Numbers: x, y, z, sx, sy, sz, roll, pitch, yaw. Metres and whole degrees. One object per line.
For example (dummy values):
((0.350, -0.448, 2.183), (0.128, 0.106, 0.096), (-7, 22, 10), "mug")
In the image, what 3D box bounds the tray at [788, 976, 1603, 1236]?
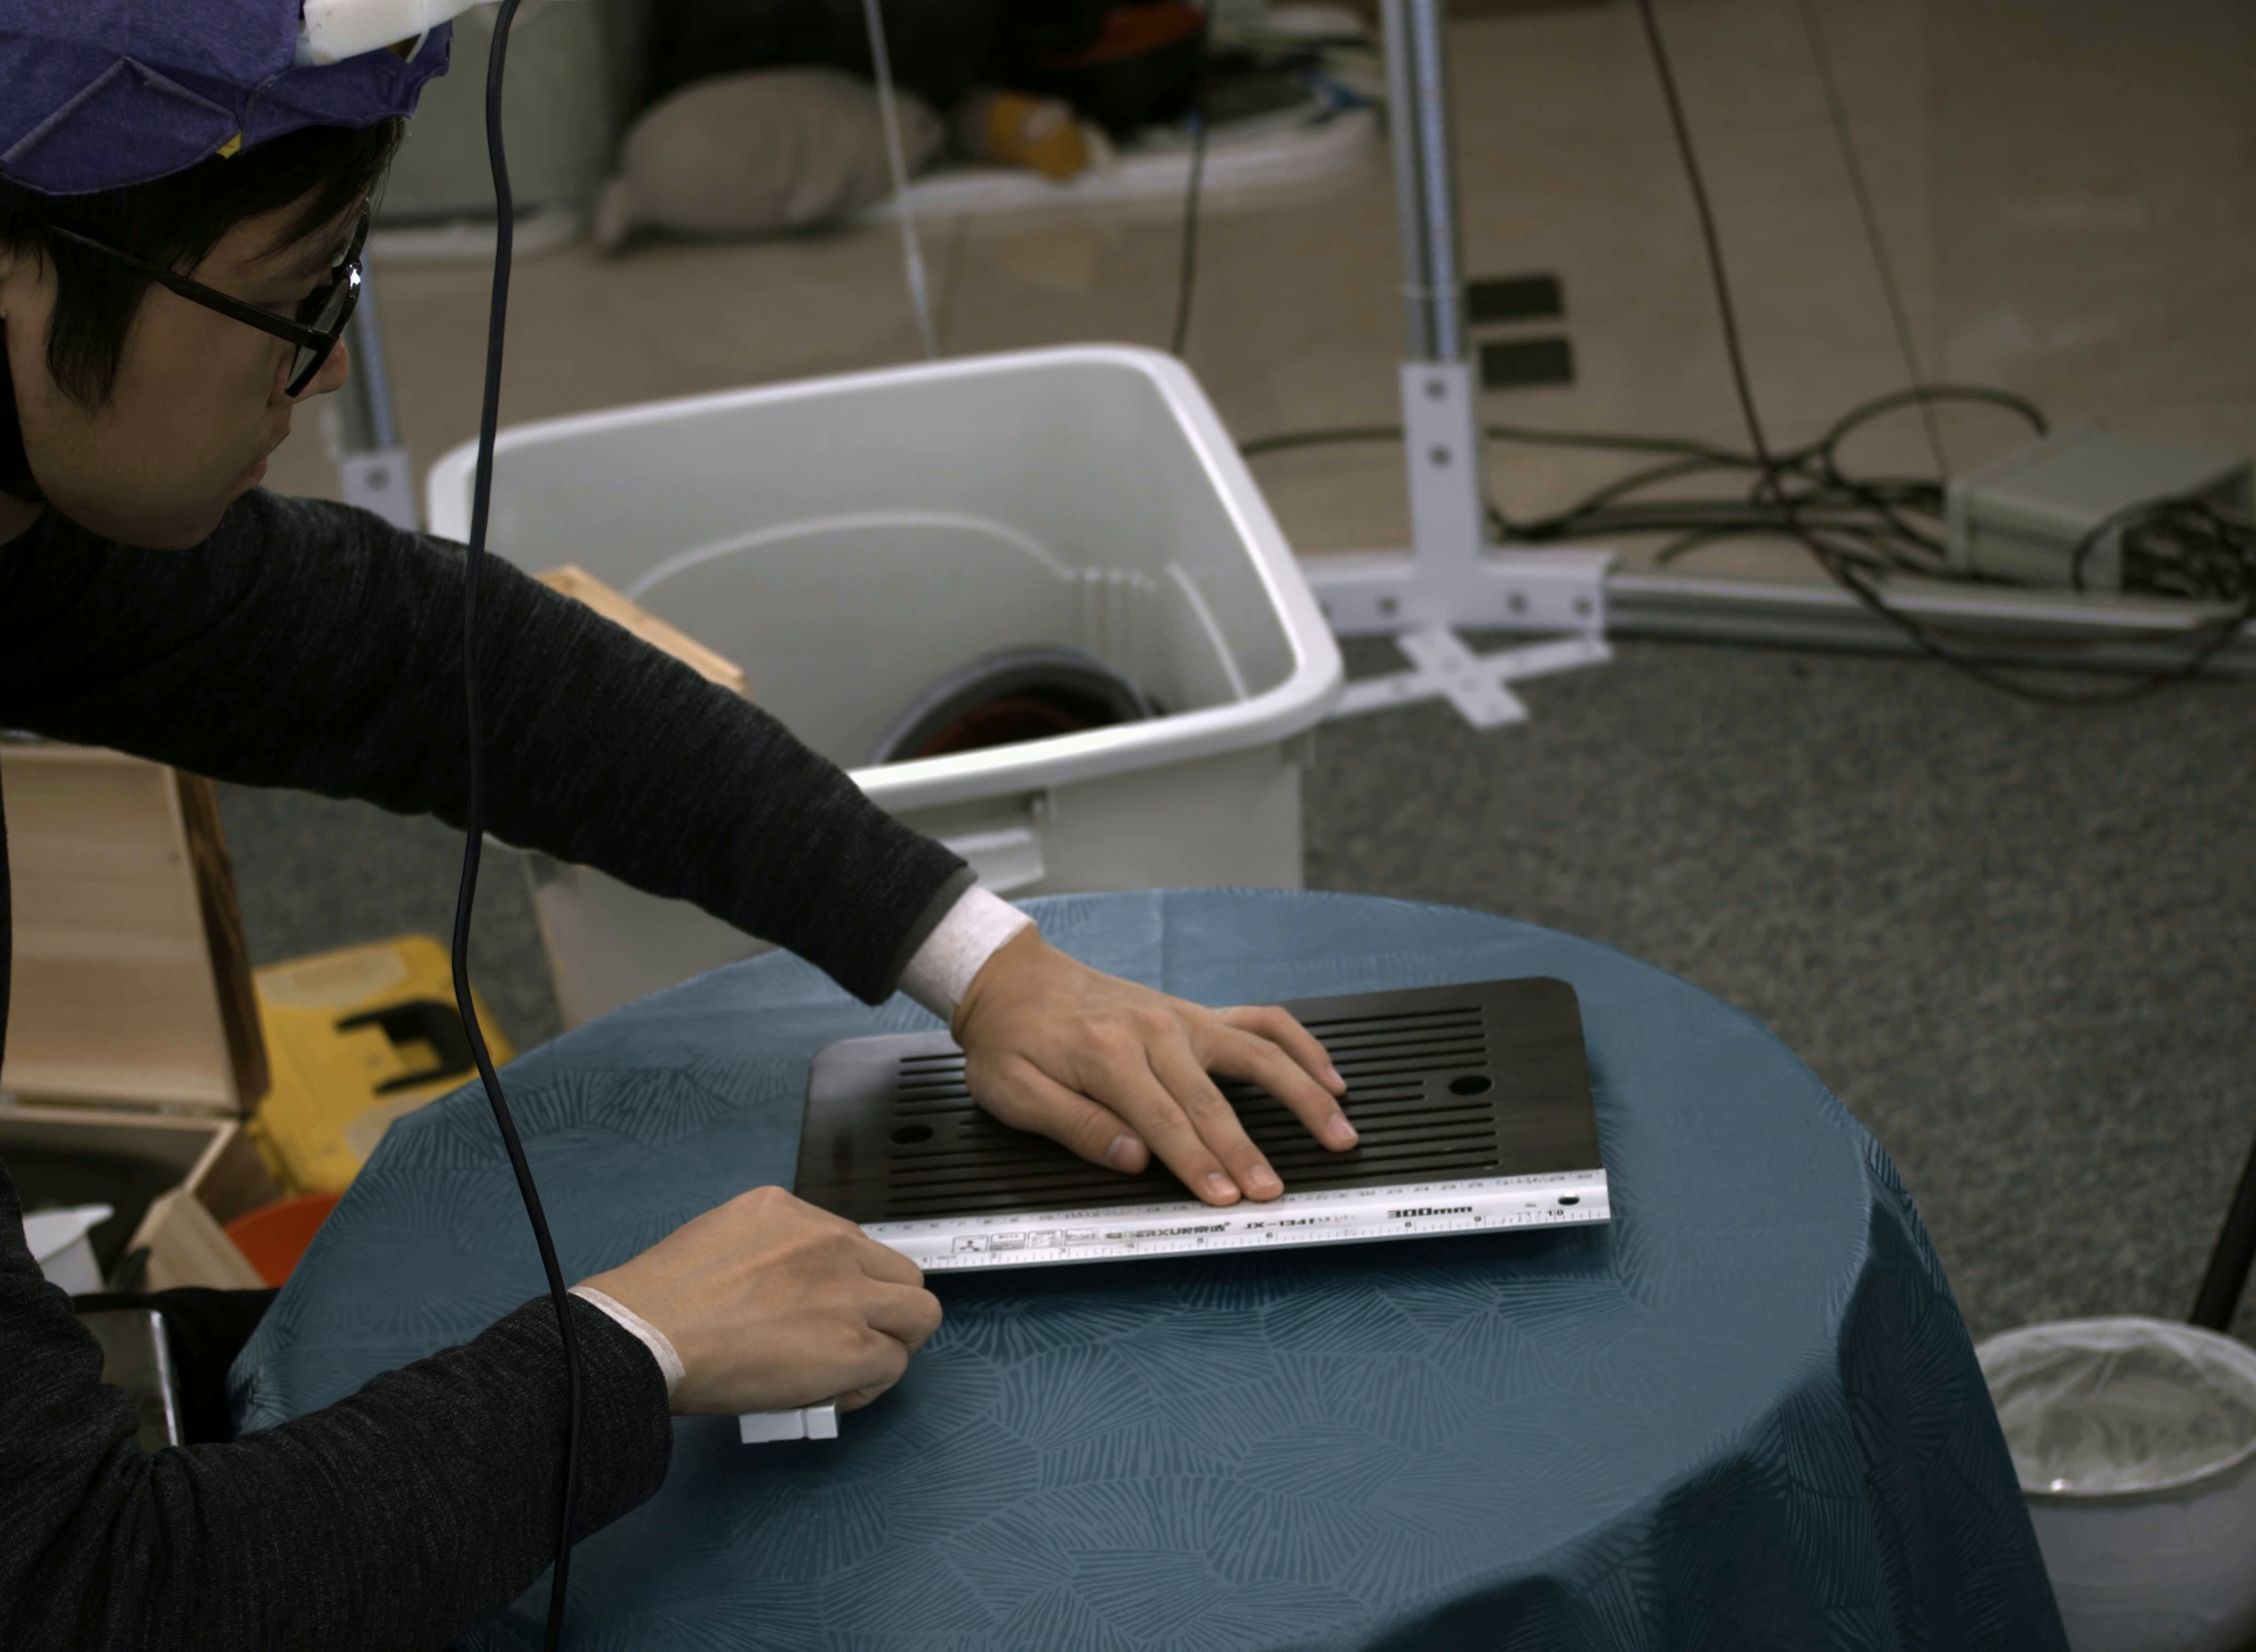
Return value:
((0.026, 0.114, 2.175), (0.305, 0.019, 0.167), (-5, 25, 3), "tray")

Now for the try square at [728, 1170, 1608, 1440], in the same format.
((0.017, 0.168, 2.033), (0.312, 0.016, 0.150), (-5, 22, 4), "try square")
